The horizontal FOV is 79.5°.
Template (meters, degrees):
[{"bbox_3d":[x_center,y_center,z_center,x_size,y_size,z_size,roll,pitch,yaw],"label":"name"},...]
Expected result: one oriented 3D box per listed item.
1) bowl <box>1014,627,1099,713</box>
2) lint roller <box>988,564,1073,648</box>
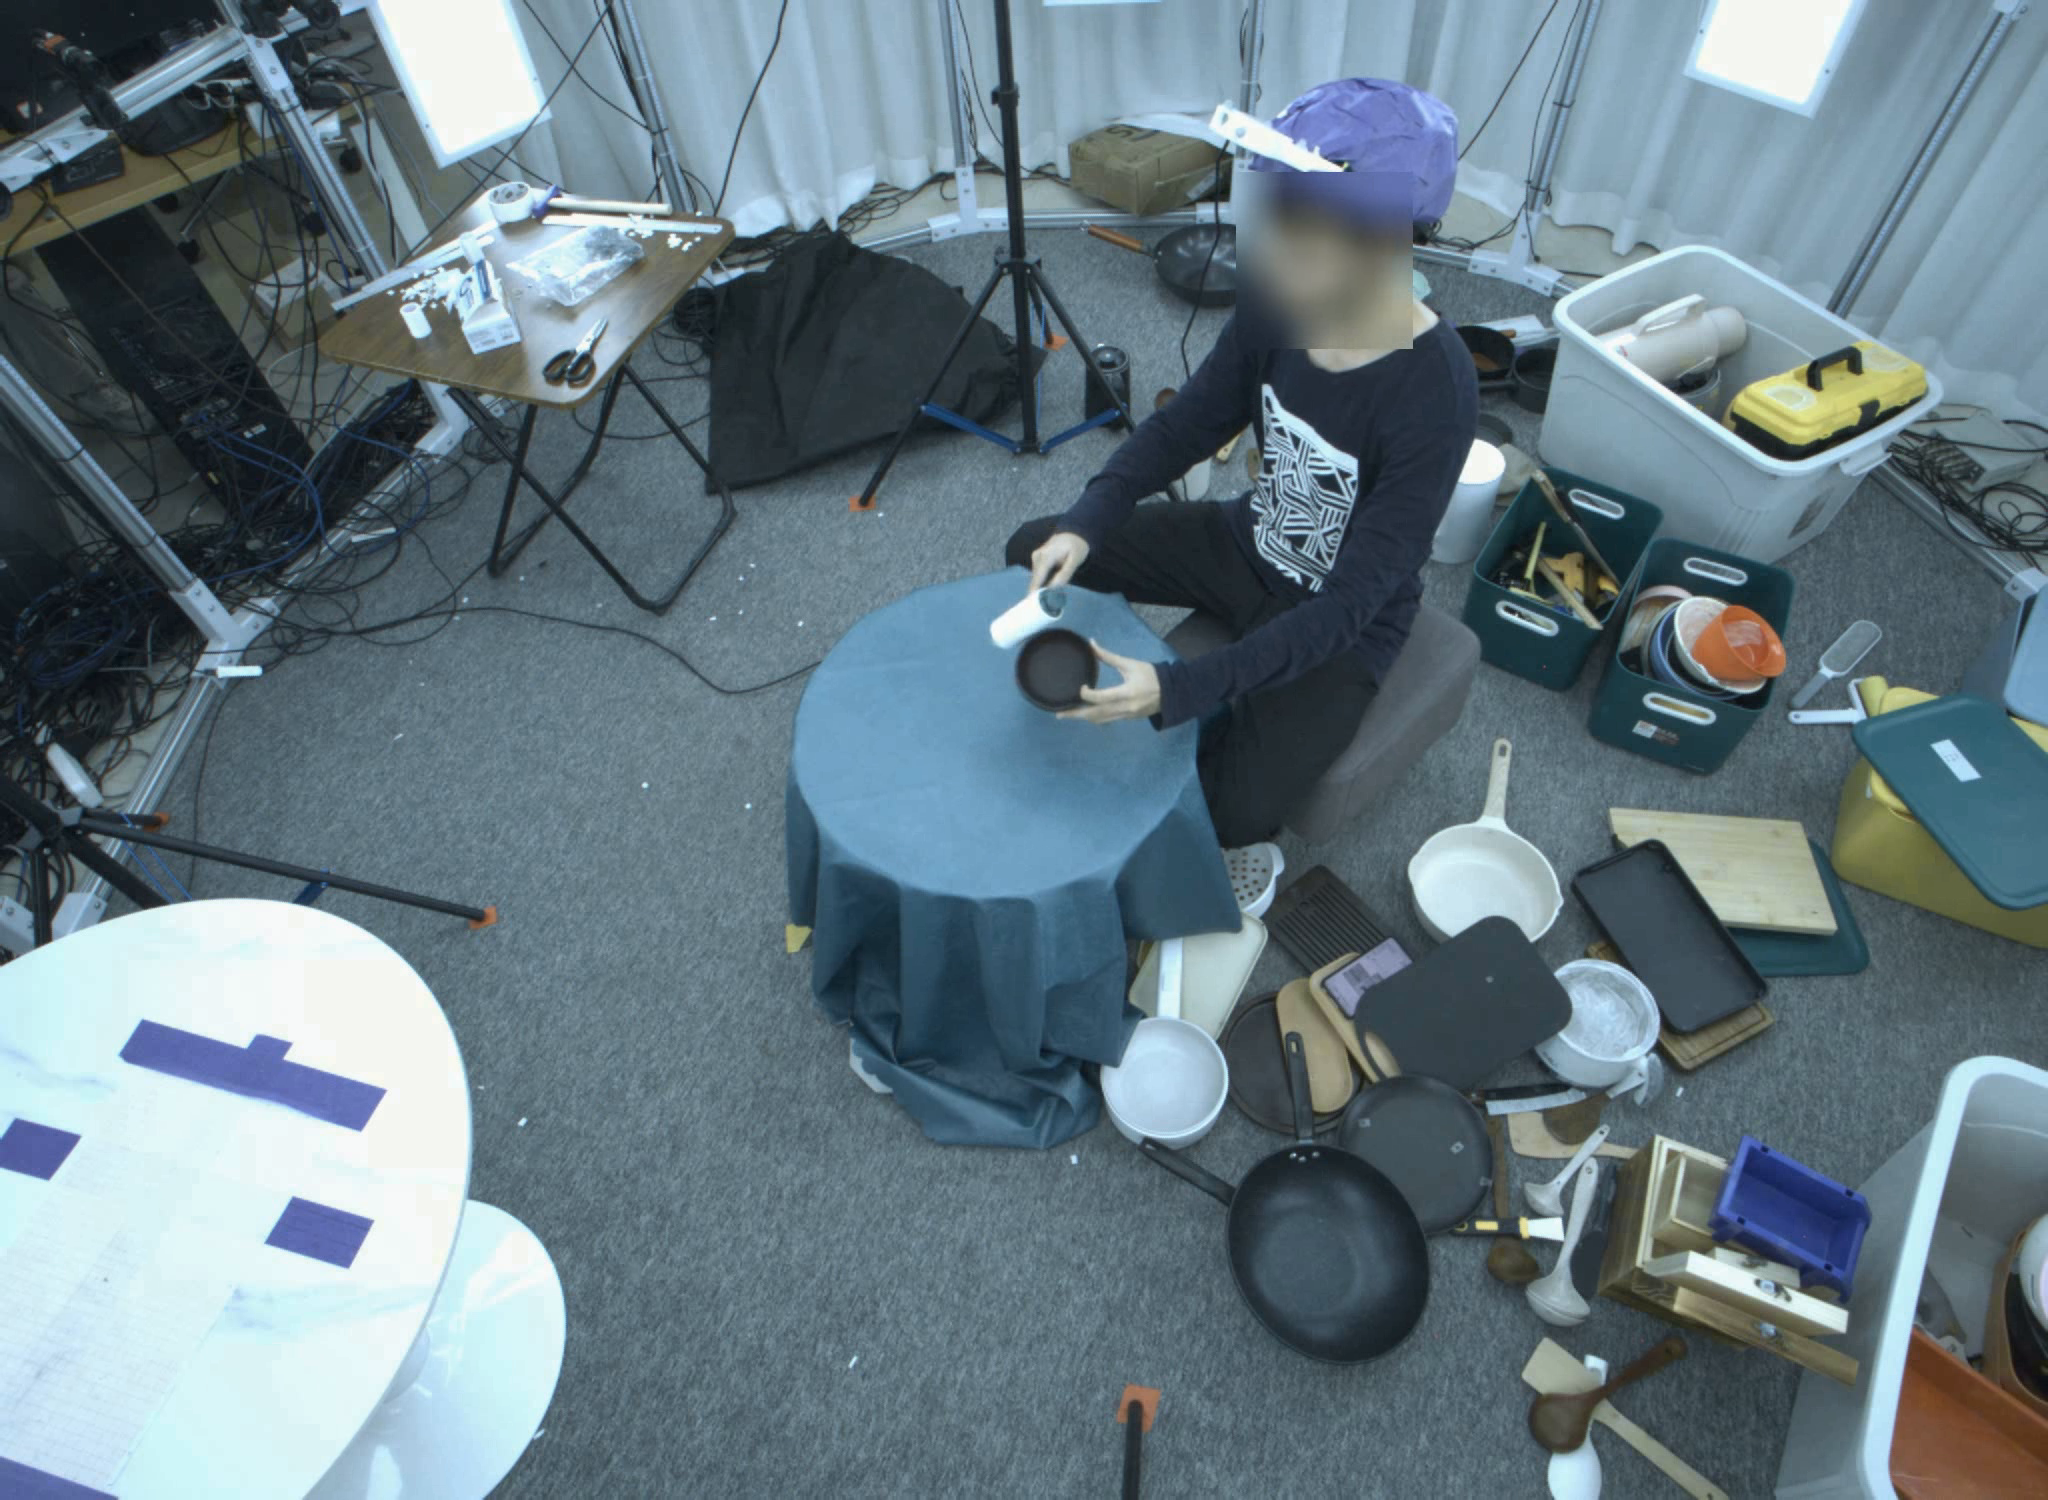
[{"bbox_3d":[0.045,-0.109,1.718,0.118,0.070,0.118,0,85,-1],"label":"bowl"},{"bbox_3d":[0.022,-0.227,1.743,0.049,0.132,0.180,43,44,-18],"label":"lint roller"}]
